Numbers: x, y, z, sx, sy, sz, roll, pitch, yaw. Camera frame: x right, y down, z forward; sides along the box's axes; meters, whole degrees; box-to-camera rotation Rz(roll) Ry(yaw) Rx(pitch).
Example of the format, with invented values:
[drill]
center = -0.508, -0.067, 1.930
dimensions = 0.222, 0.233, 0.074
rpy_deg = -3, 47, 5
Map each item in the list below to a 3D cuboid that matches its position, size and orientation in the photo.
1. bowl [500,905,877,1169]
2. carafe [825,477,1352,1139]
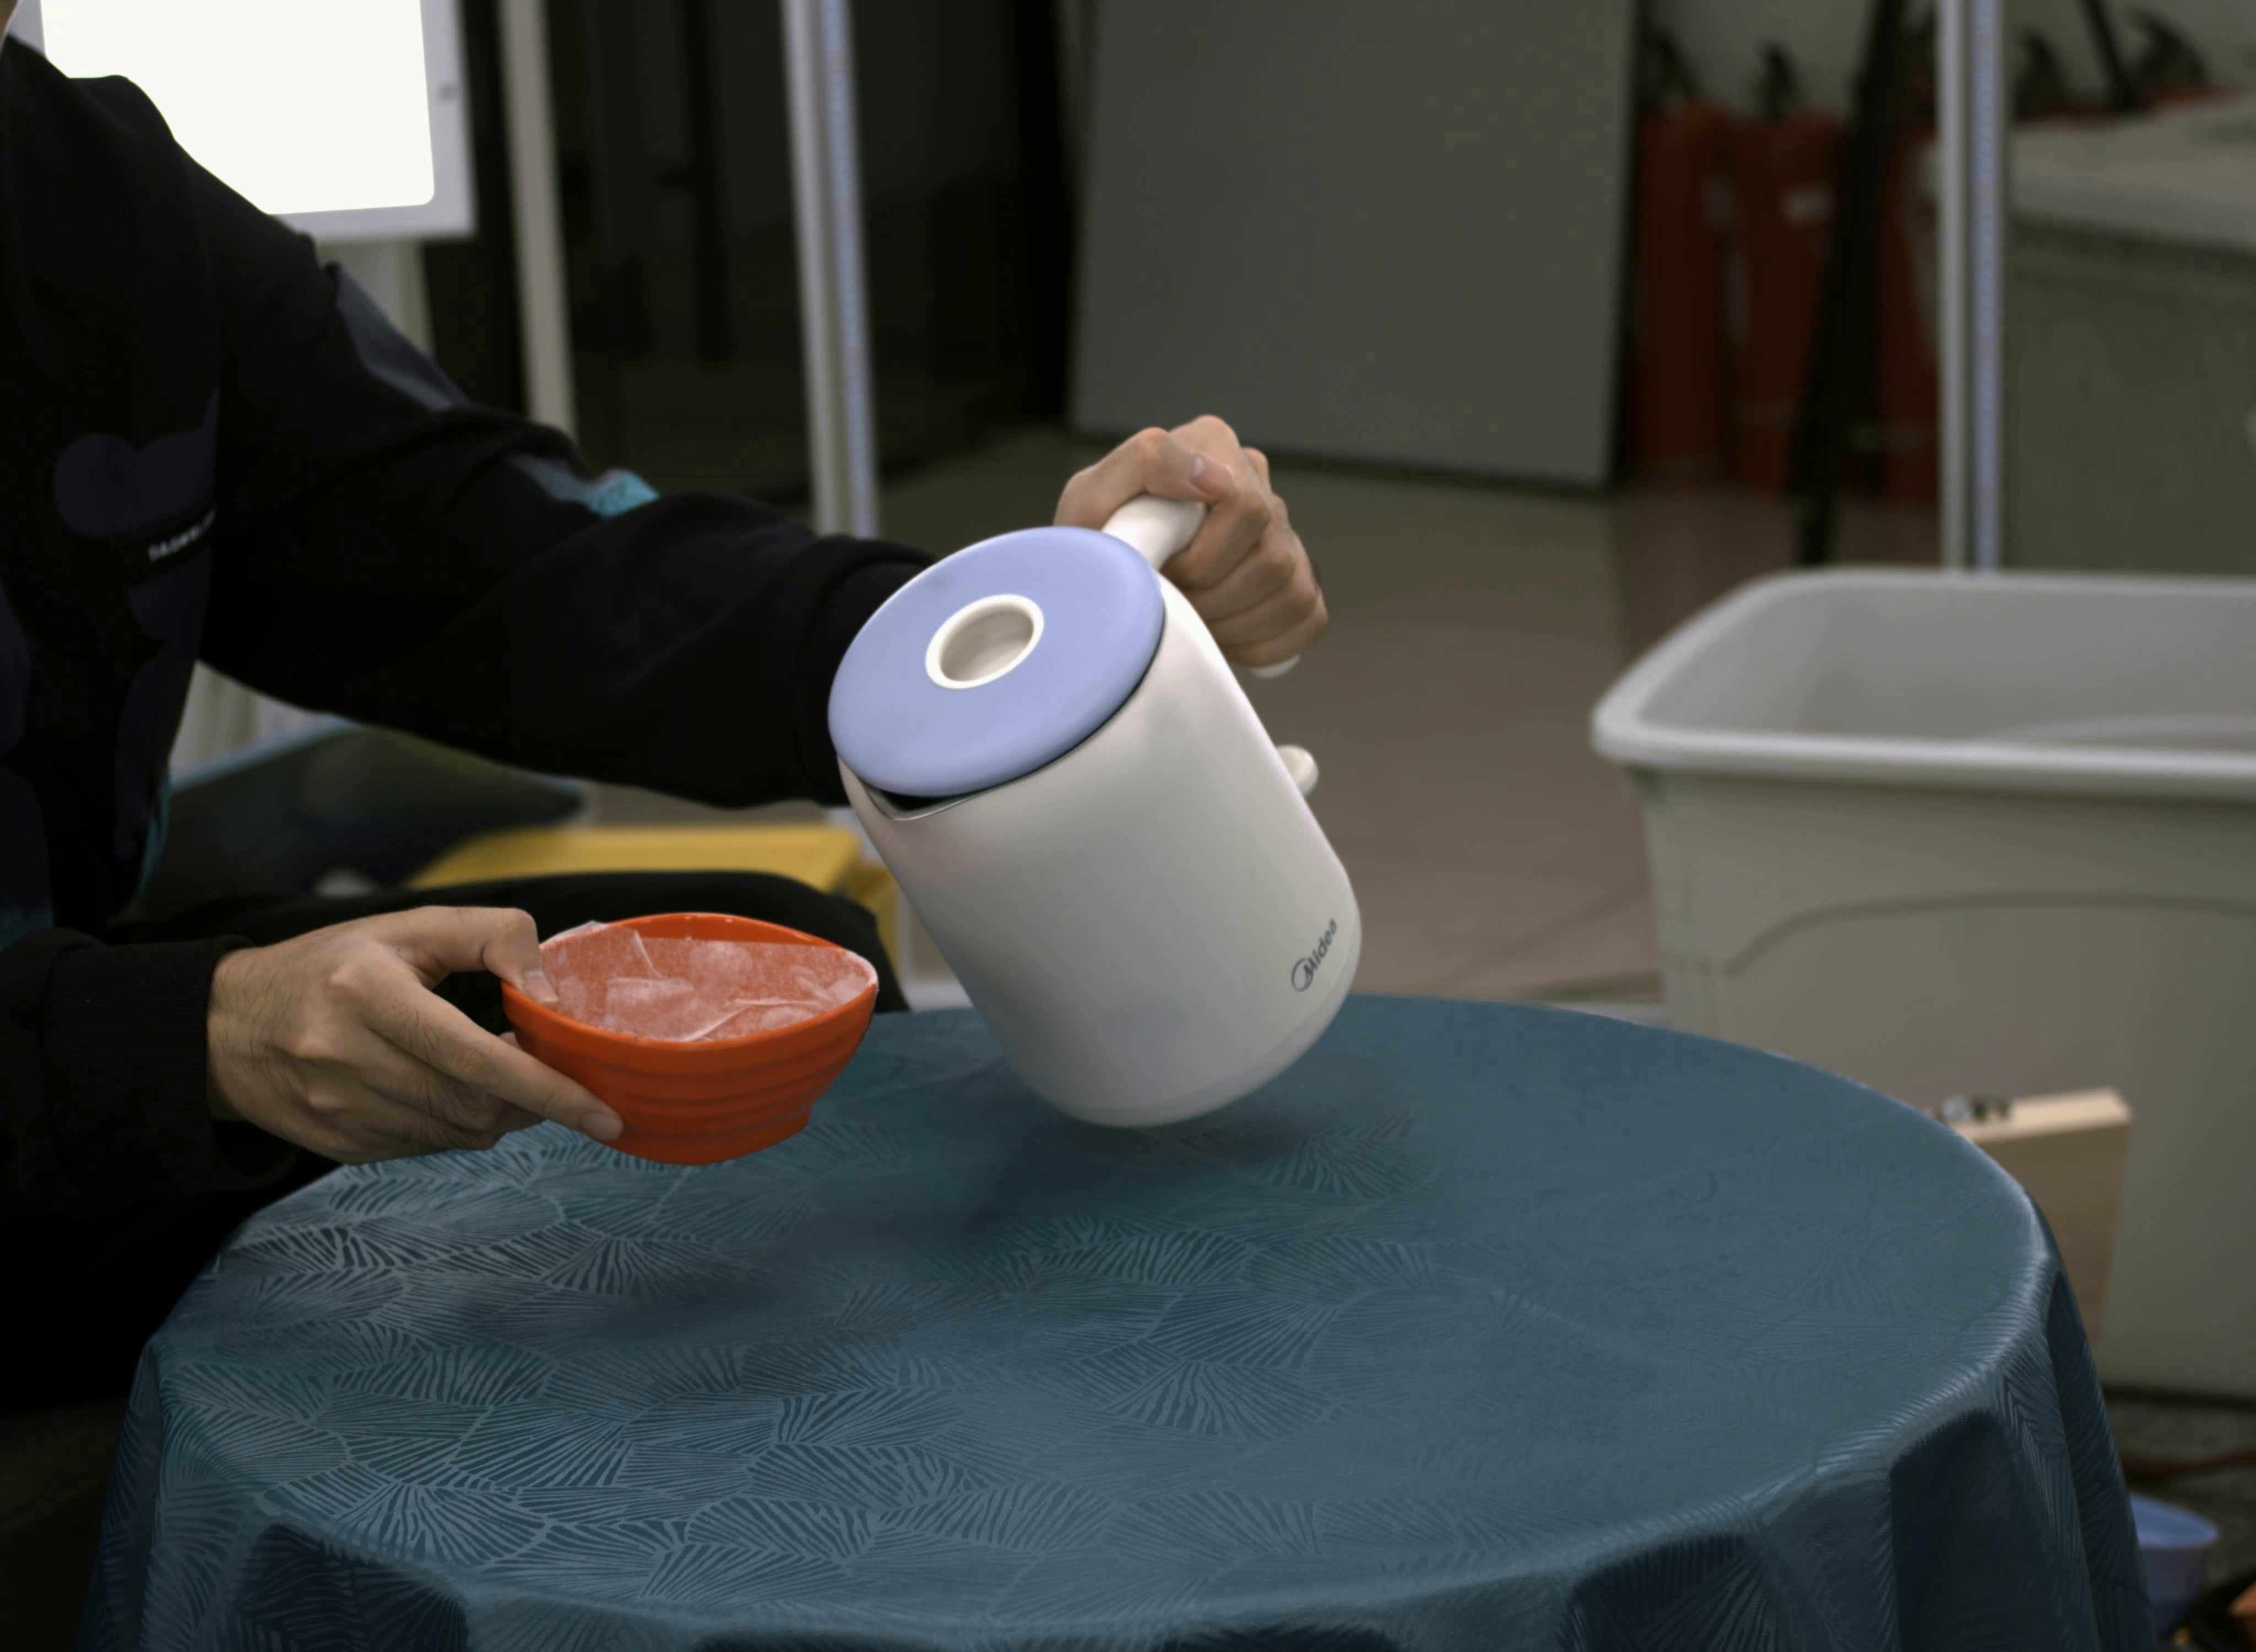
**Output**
[bowl]
center = -0.138, 0.069, 1.697
dimensions = 0.117, 0.052, 0.119
rpy_deg = 1, 20, -1
[carafe]
center = -0.002, -0.017, 1.792
dimensions = 0.133, 0.182, 0.190
rpy_deg = 4, 47, 35
